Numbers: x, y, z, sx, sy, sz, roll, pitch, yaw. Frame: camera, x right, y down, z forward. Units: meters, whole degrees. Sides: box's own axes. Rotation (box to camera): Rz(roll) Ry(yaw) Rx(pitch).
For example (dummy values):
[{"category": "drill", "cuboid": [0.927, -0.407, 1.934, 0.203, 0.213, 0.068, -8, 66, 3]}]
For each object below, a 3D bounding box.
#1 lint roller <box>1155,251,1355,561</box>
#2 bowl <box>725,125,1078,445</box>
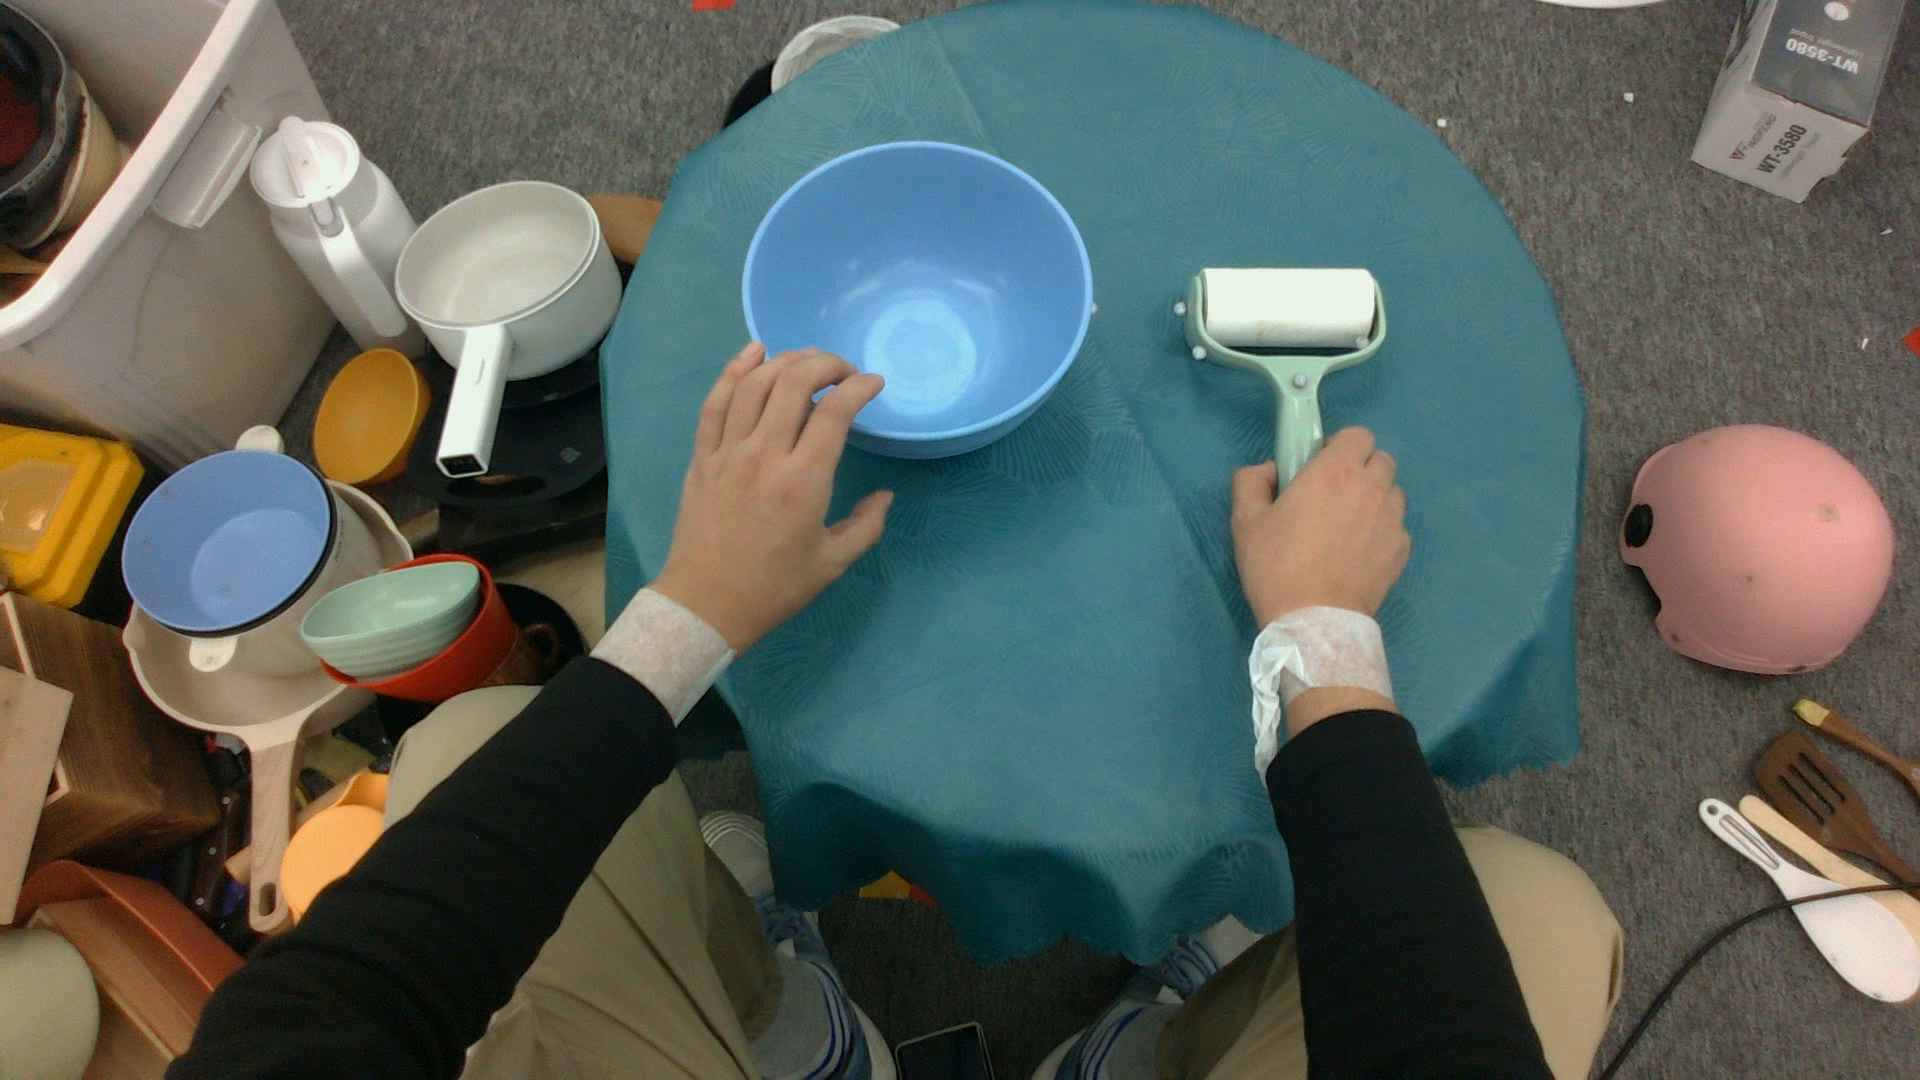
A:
[{"category": "lint roller", "cuboid": [0.180, -0.085, 0.818, 0.116, 0.048, 0.198, 0, 67, -3]}, {"category": "bowl", "cuboid": [-0.034, -0.134, 0.808, 0.196, 0.095, 0.197, 1, 67, -2]}]
